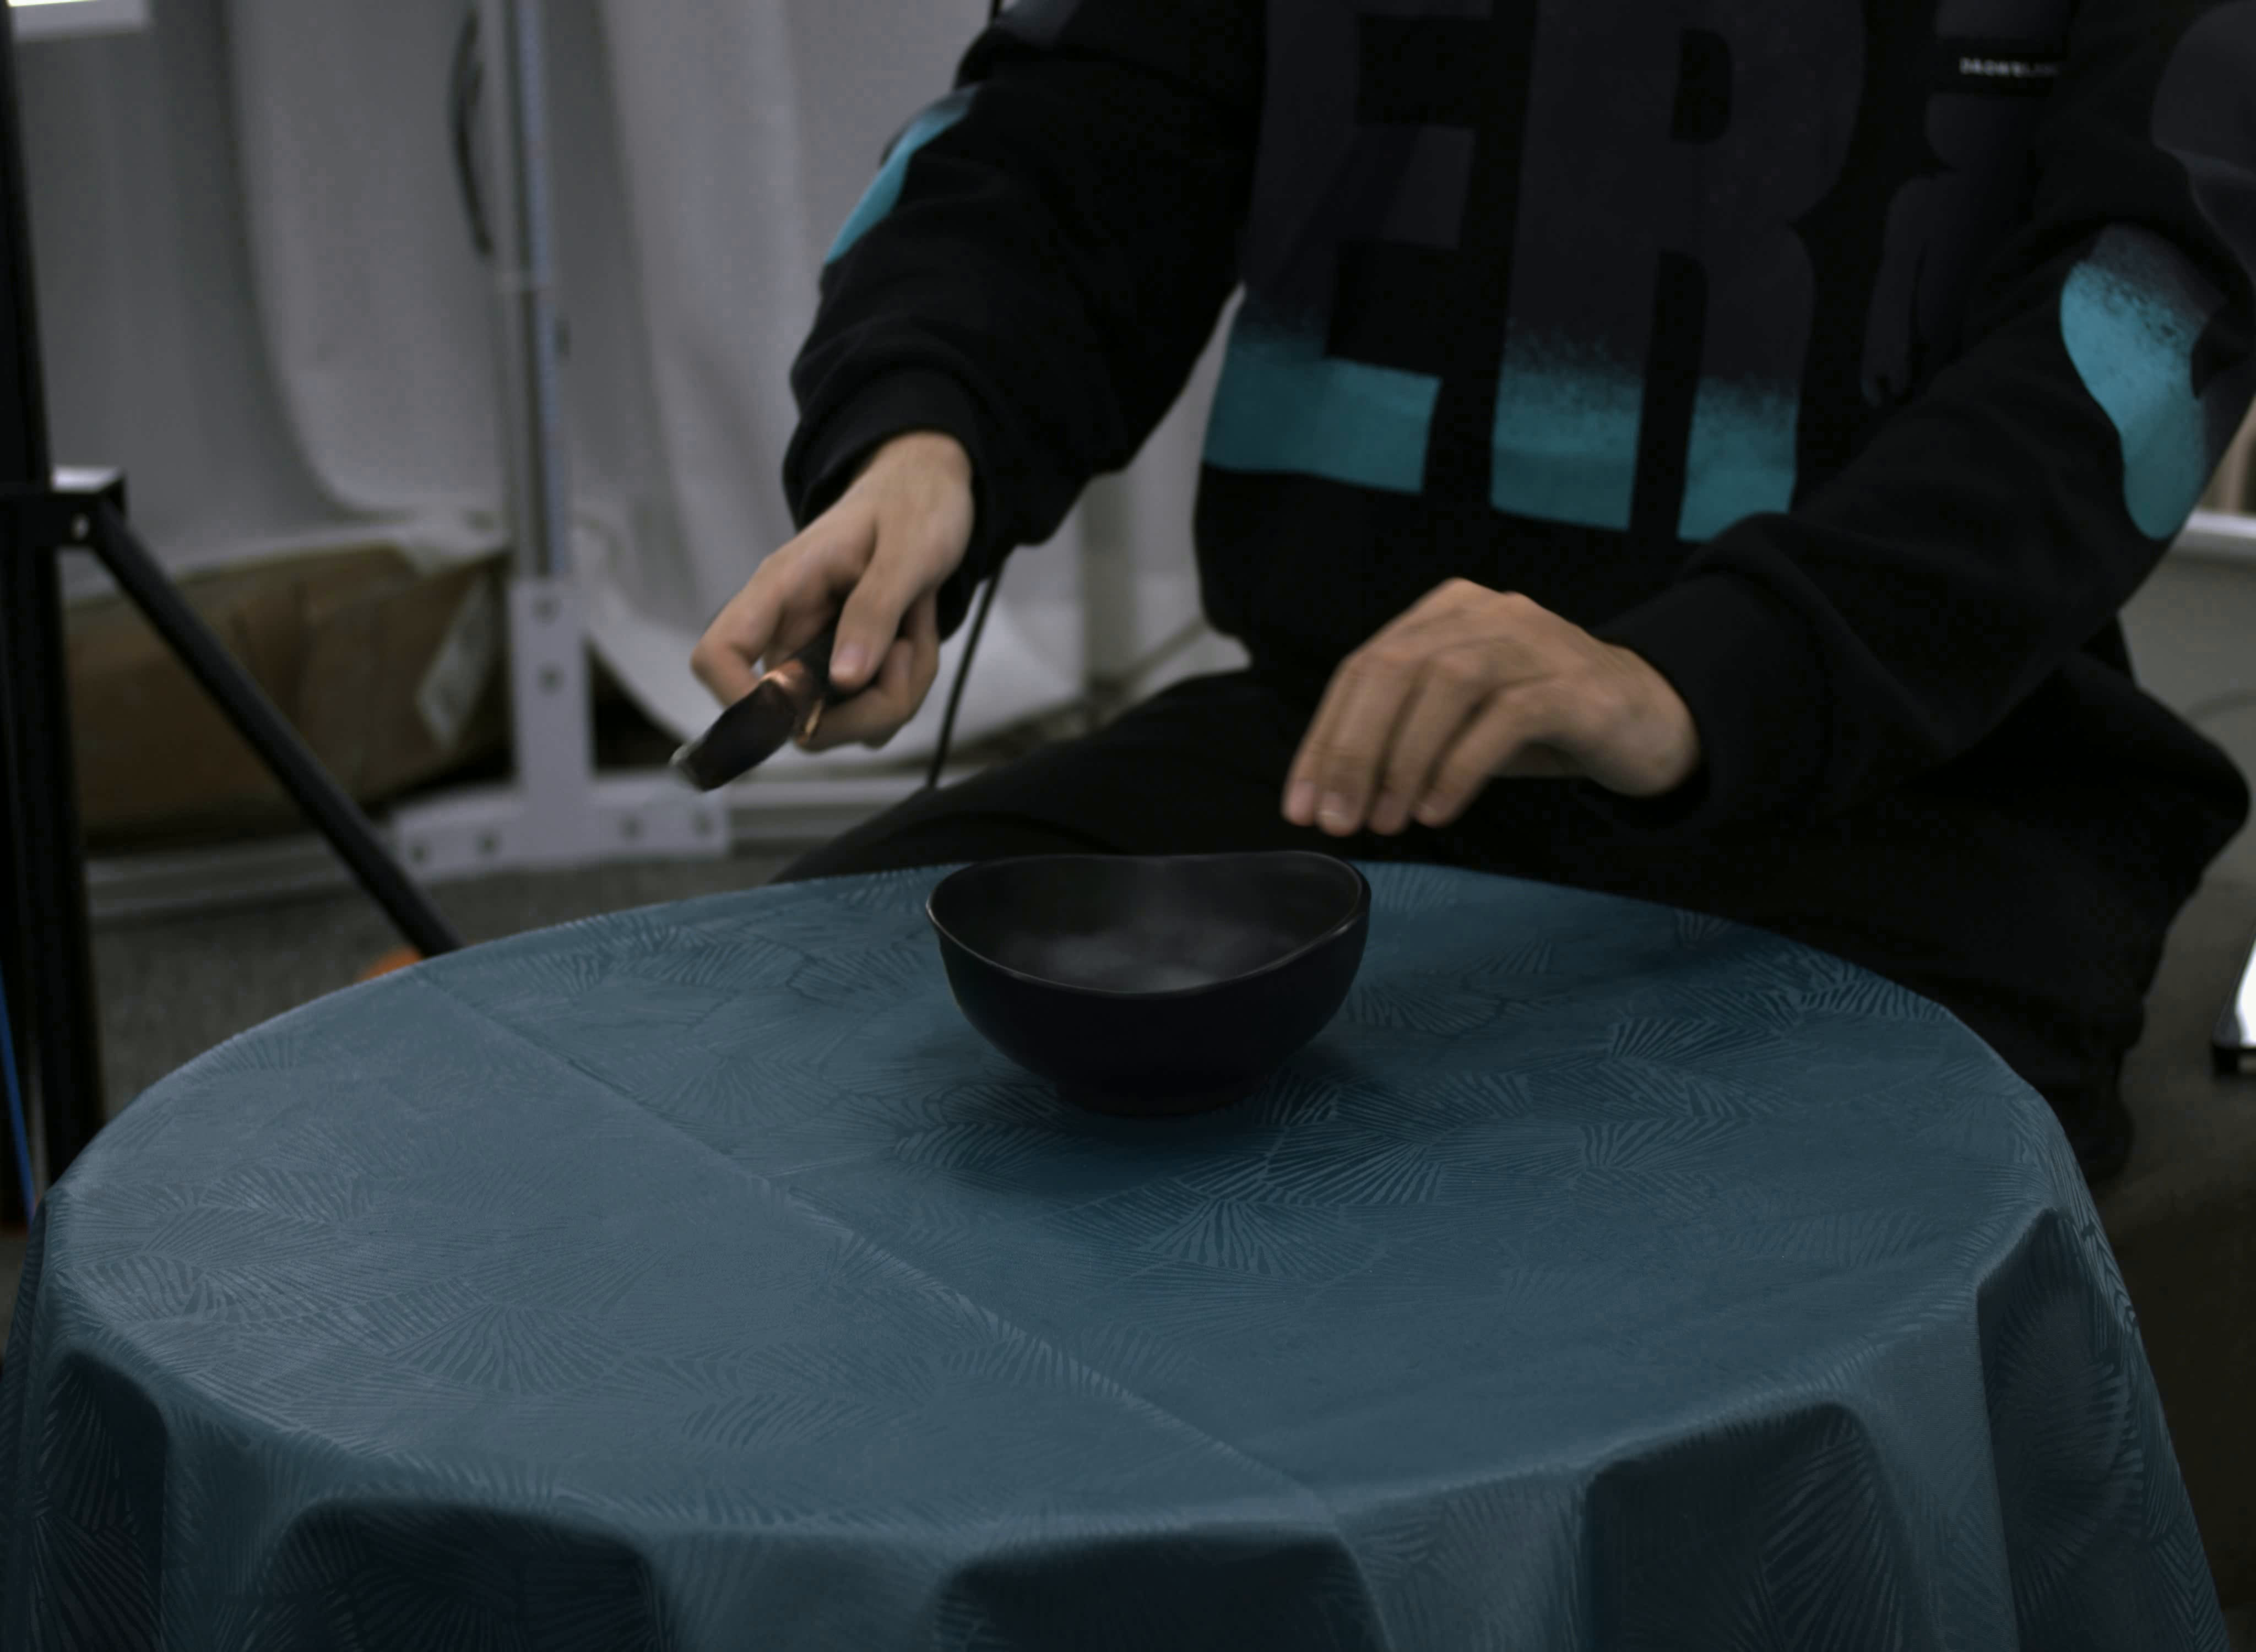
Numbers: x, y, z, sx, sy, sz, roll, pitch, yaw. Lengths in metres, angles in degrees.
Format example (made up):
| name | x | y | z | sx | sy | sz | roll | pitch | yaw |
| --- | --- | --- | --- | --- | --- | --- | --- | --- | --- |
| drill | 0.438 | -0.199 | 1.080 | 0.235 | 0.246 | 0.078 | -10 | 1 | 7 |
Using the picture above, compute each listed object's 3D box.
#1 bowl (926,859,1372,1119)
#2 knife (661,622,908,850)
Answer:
| name | x | y | z | sx | sy | sz | roll | pitch | yaw |
| --- | --- | --- | --- | --- | --- | --- | --- | --- | --- |
| bowl | 0.008 | 0.051 | 1.641 | 0.137 | 0.067 | 0.170 | -1 | 14 | 4 |
| knife | -0.114 | -0.031 | 1.751 | 0.017 | 0.026 | 0.223 | -38 | 3 | 24 |
